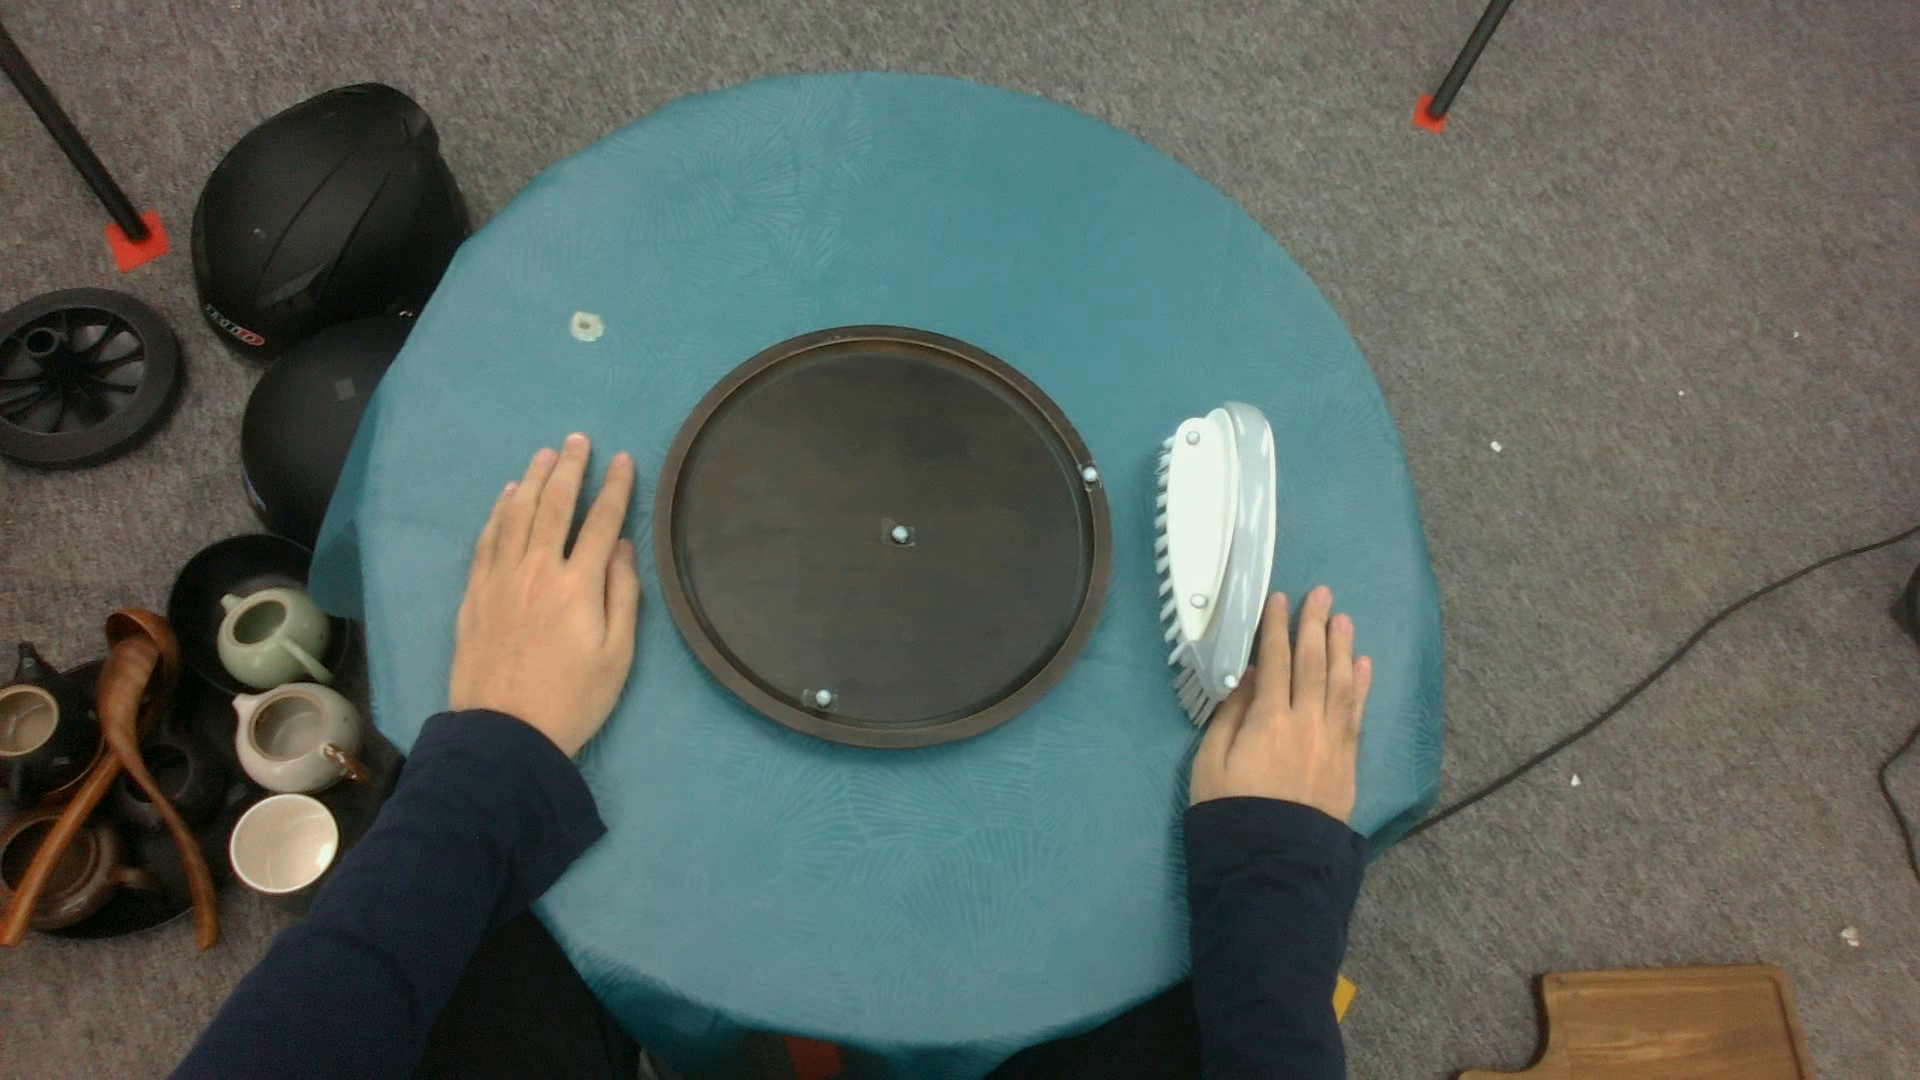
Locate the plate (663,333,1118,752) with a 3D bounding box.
[{"bbox_3d":[-0.037,-0.004,0.771,0.255,0.029,0.255,3,65,-7],"label":"plate"}]

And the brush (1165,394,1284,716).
[{"bbox_3d":[0.150,0.002,0.757,0.061,0.094,0.176,7,69,-4],"label":"brush"}]
